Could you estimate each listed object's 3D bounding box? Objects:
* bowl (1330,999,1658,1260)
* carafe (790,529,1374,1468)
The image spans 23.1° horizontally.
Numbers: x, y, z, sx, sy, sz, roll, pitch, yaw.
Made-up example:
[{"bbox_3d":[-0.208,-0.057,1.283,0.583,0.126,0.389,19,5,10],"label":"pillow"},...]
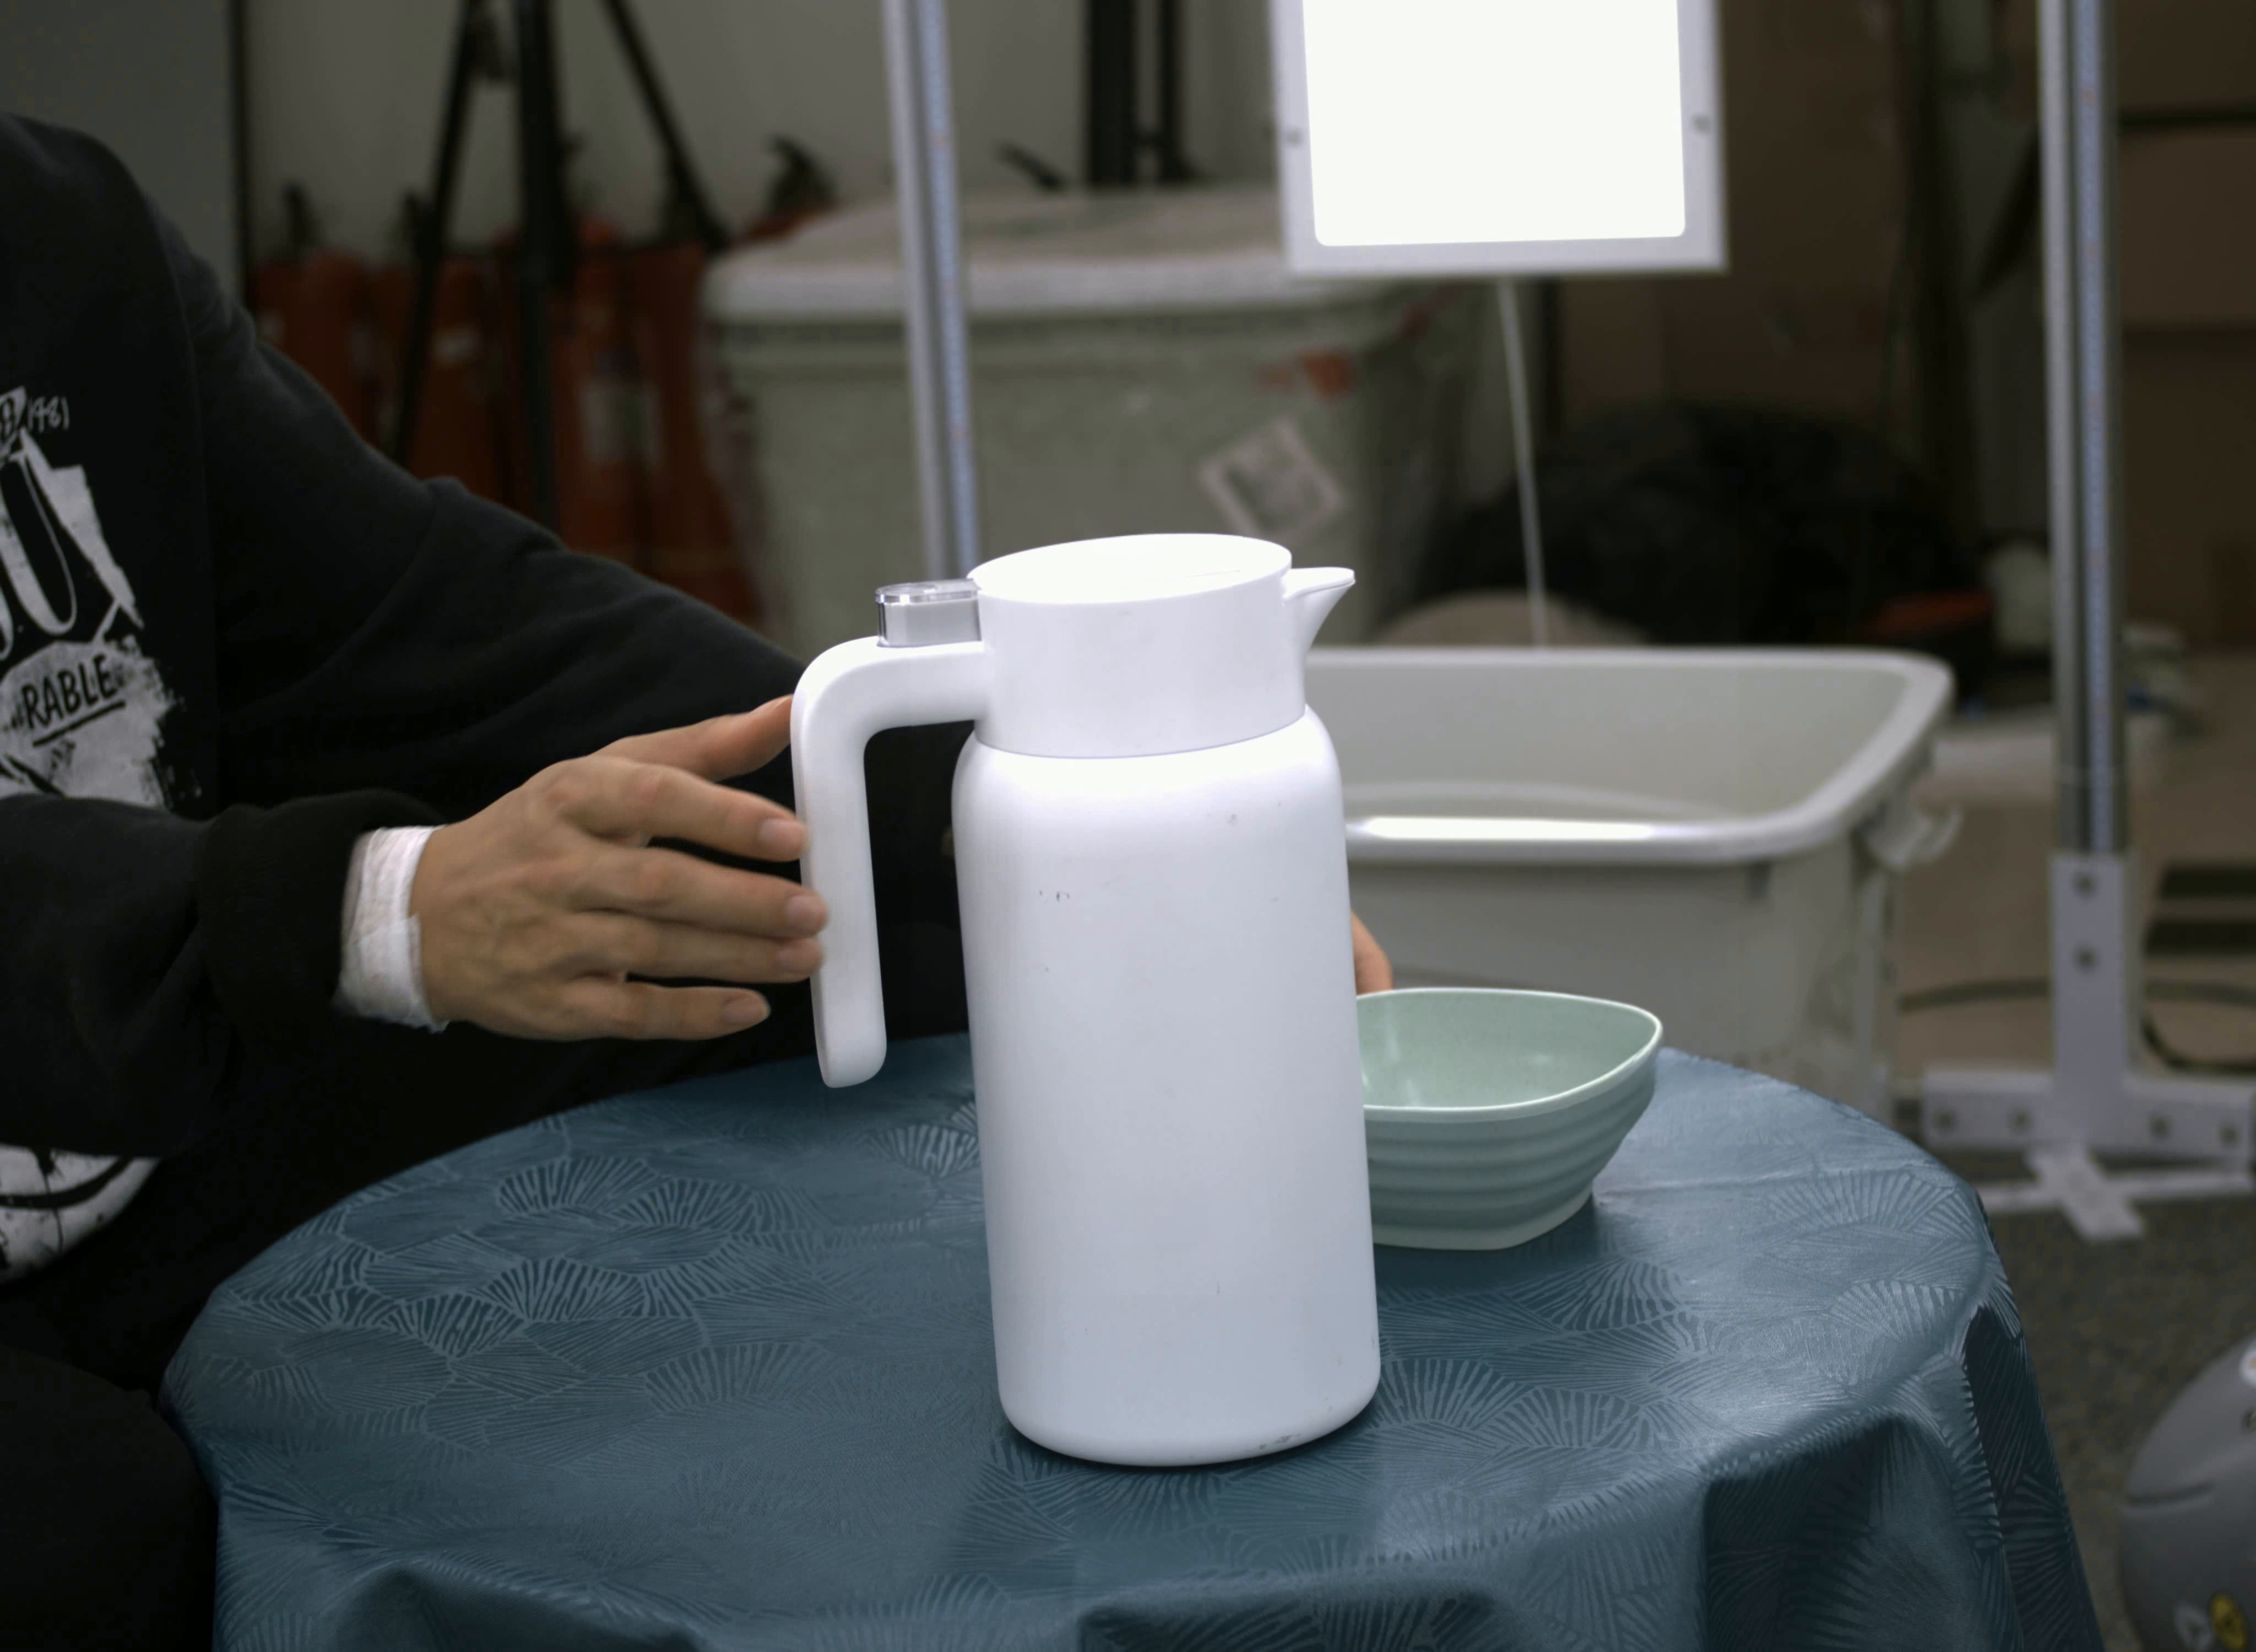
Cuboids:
[{"bbox_3d":[0.107,0.104,1.841,0.151,0.059,0.151,-5,13,0],"label":"bowl"},{"bbox_3d":[-0.008,0.052,1.645,0.171,0.270,0.124,-7,16,-8],"label":"carafe"}]
